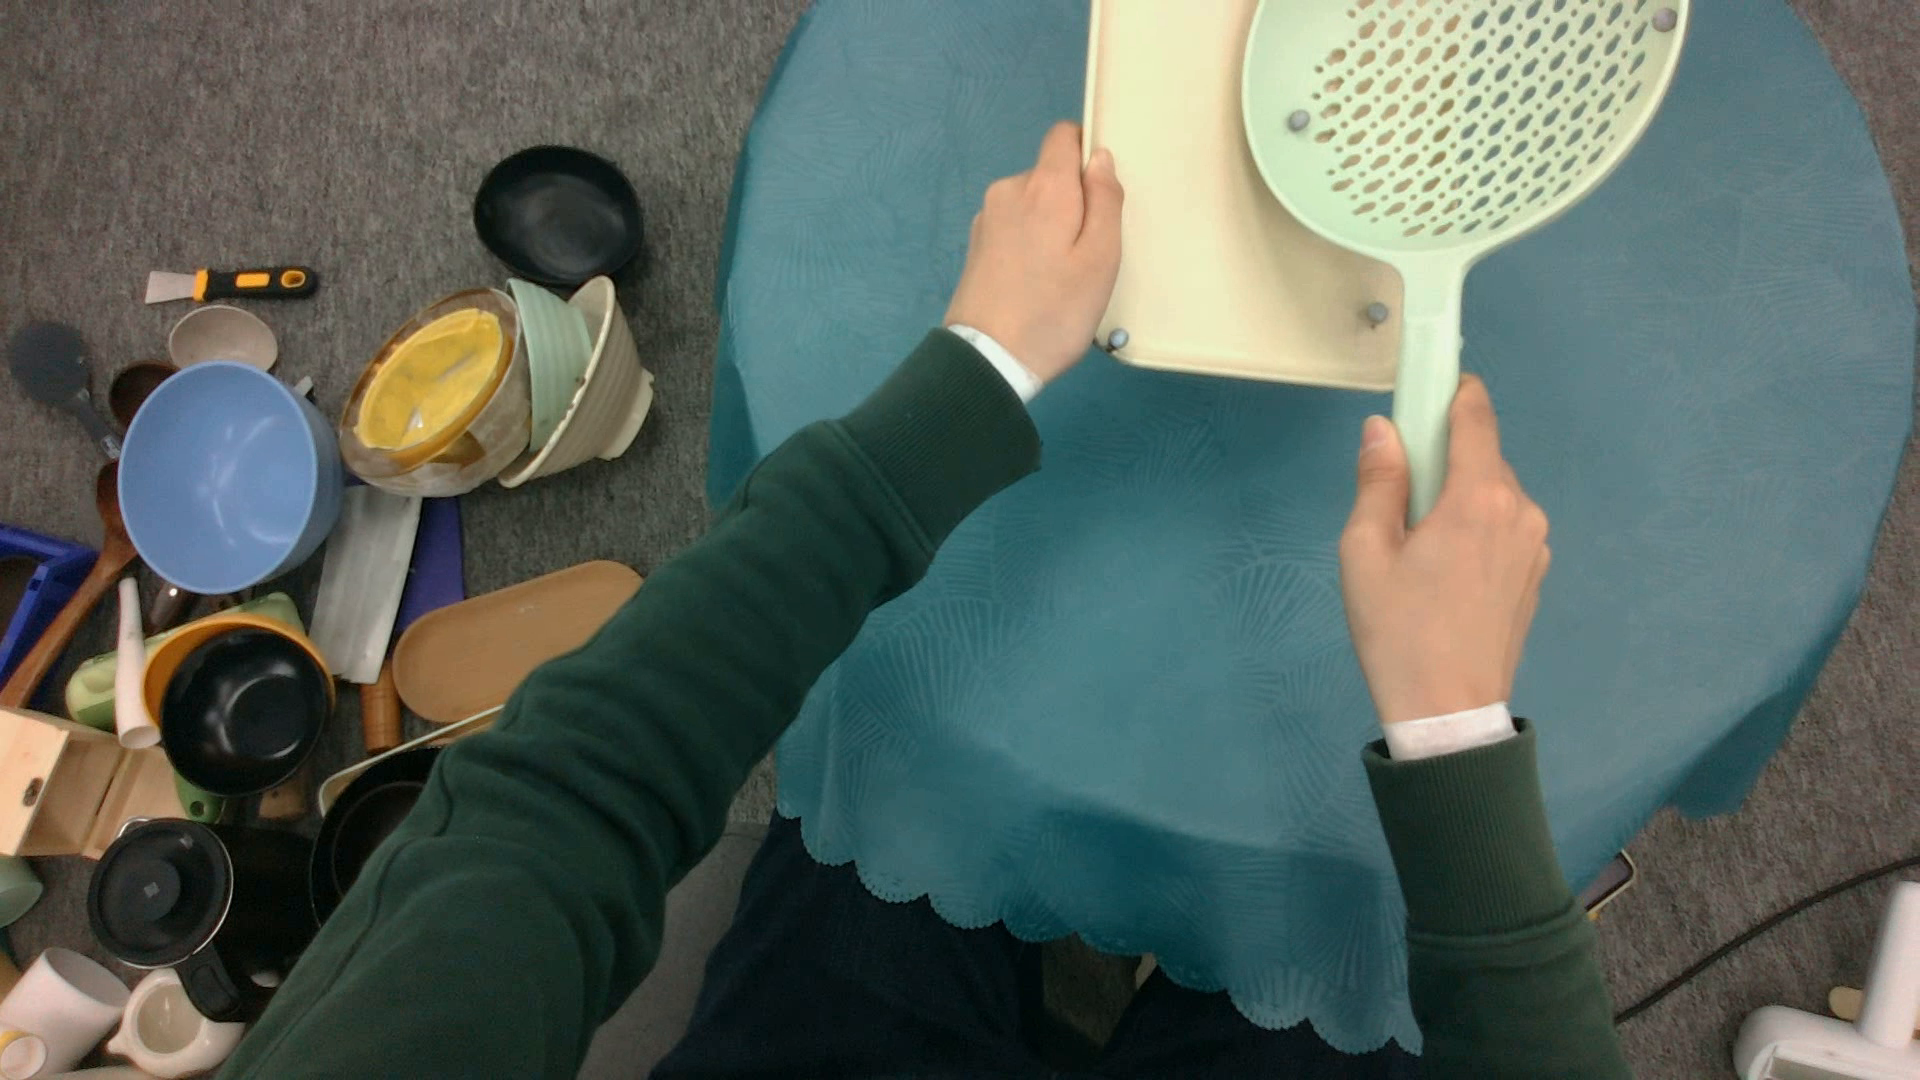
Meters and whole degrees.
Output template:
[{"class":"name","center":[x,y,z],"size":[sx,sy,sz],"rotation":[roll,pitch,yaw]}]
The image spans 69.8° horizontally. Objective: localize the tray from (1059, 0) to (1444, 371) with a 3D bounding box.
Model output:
[{"class":"tray","center":[0.127,-0.195,0.592],"size":[0.171,0.017,0.239],"rotation":[4,88,-13]}]

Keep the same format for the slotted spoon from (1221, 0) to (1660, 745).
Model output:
[{"class":"slotted spoon","center":[0.180,-0.102,0.541],"size":[0.169,0.075,0.359],"rotation":[2,79,37]}]
